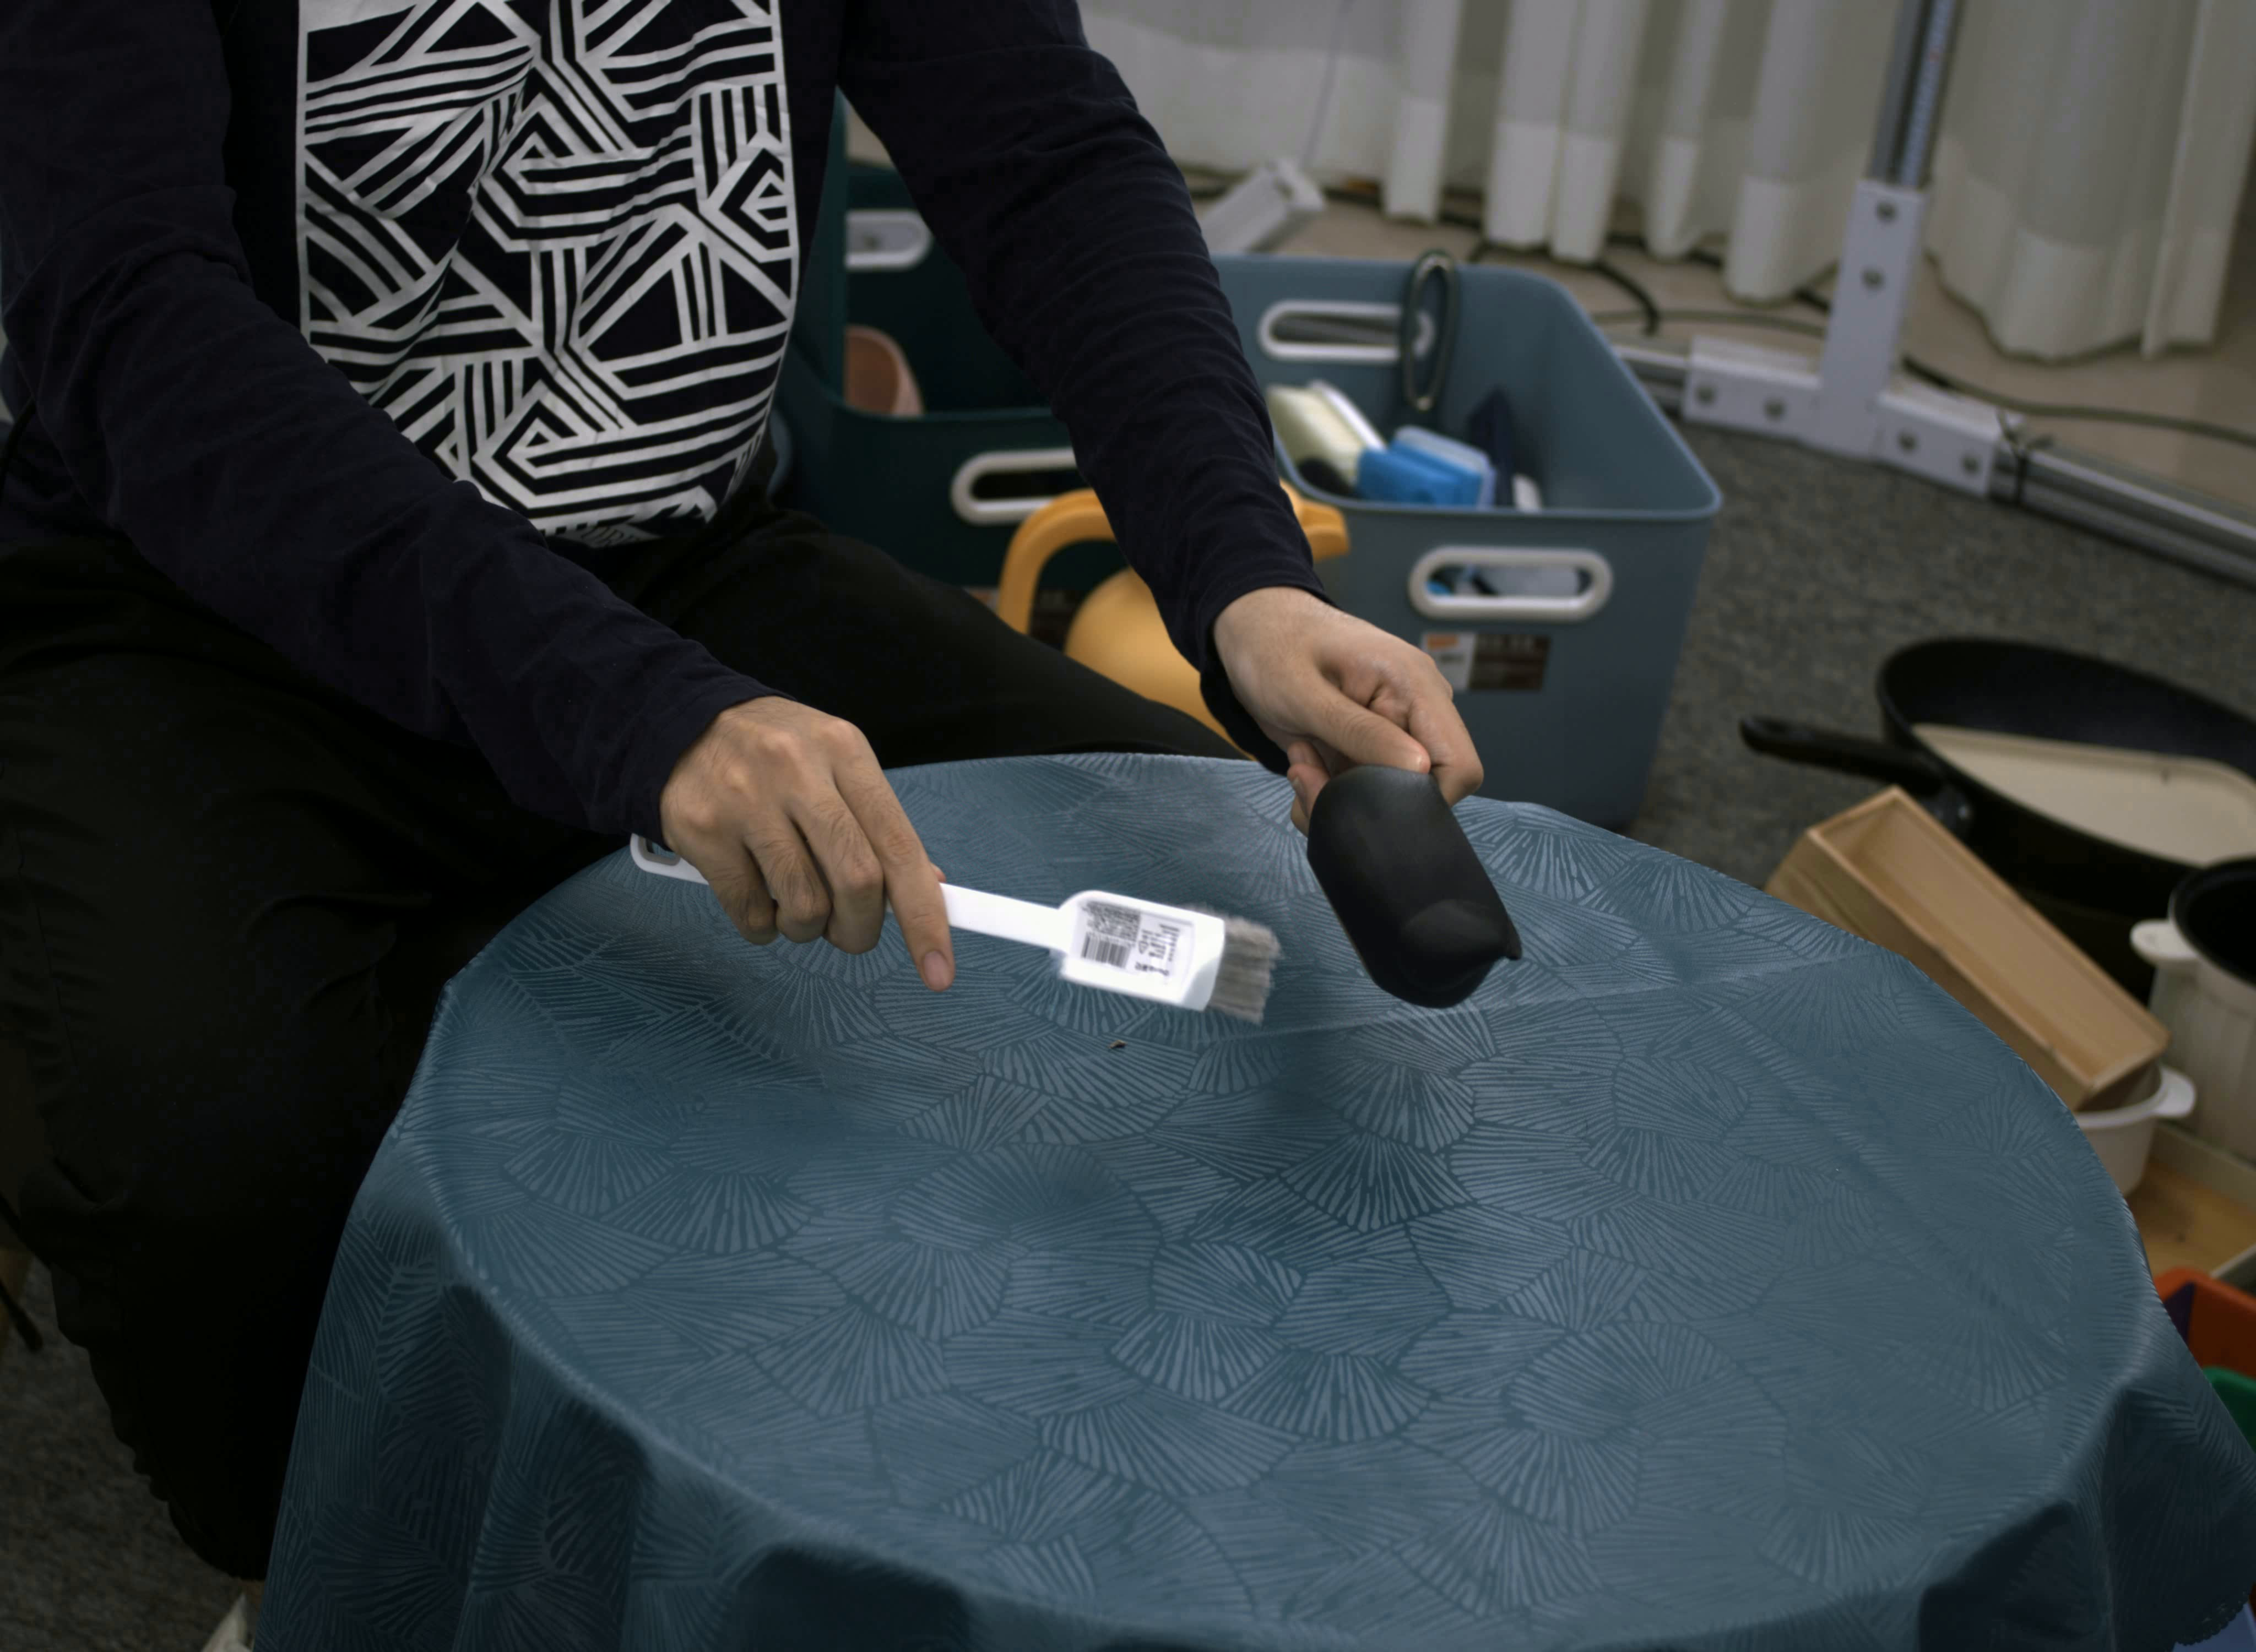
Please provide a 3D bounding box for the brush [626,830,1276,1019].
[{"bbox_3d":[-0.062,0.032,1.839,0.244,0.034,0.050,9,-6,27],"label":"brush"}]

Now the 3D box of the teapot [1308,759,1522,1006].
[{"bbox_3d":[0.097,0.019,1.866,0.053,0.090,0.134,-24,34,1],"label":"teapot"}]
